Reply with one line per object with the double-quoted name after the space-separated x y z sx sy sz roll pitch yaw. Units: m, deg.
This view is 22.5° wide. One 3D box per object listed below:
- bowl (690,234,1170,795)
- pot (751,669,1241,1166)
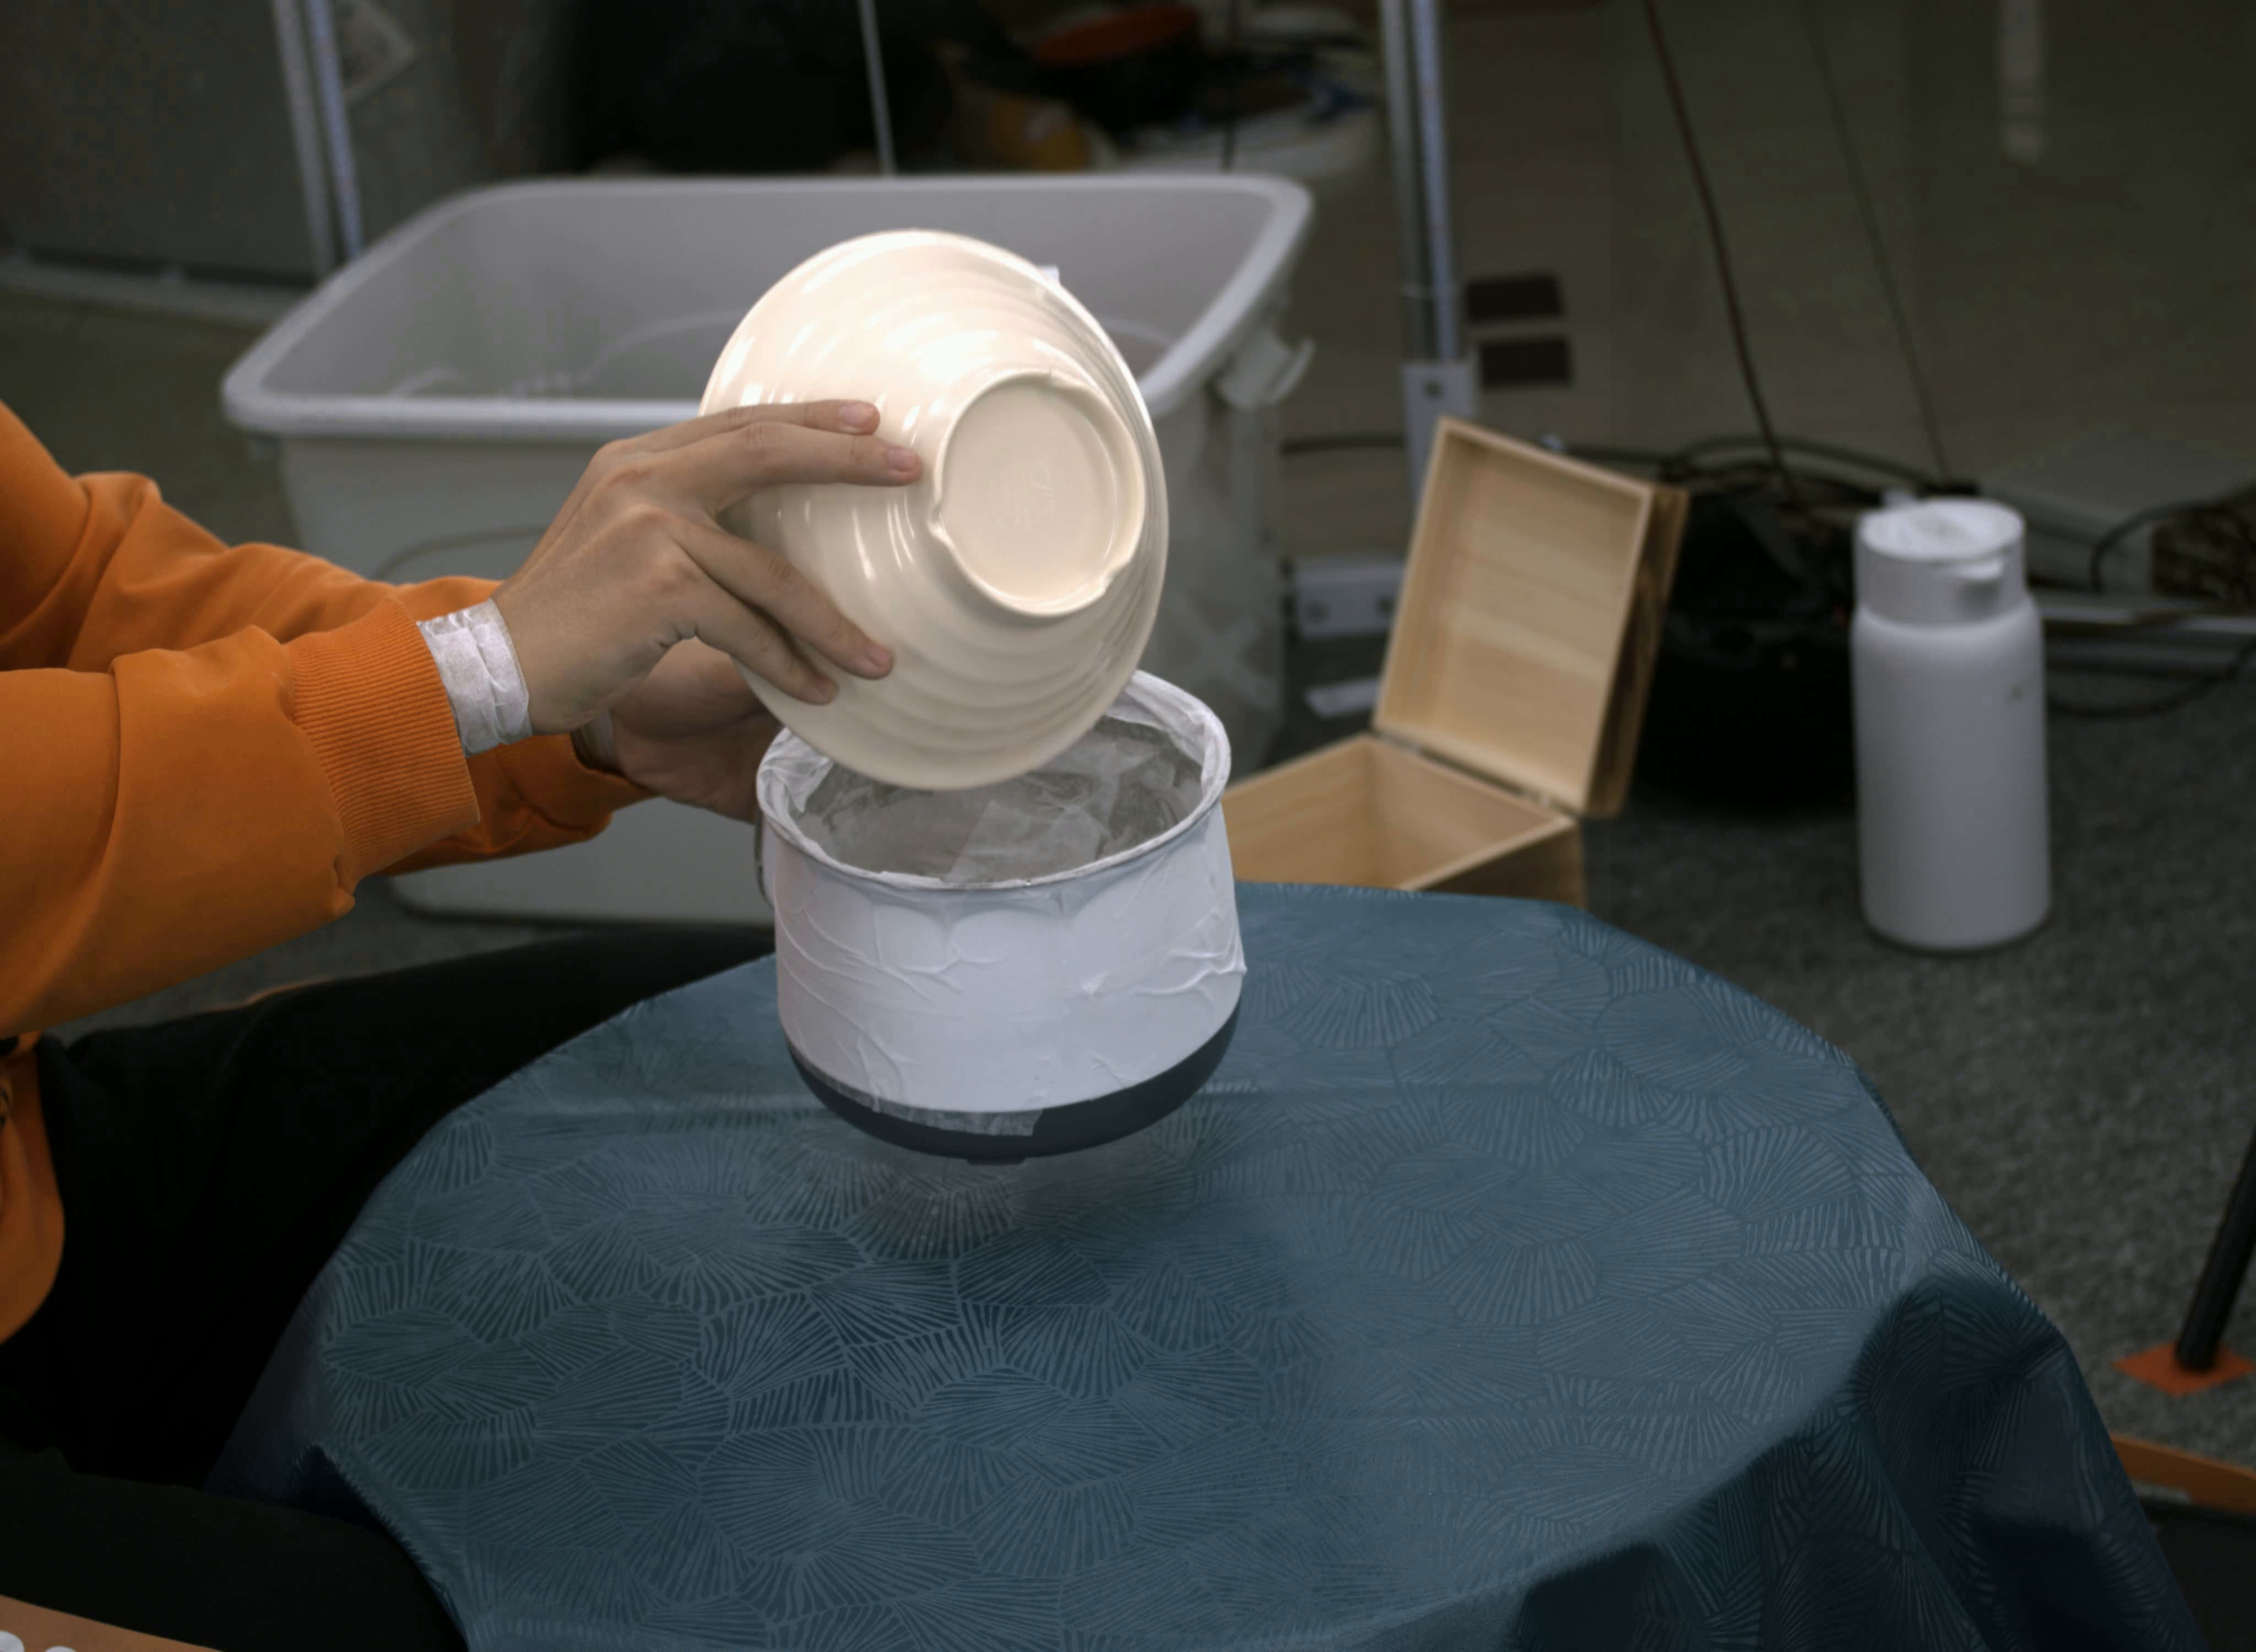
-0.049 -0.116 2.007 0.202 0.205 0.078 -24 11 -33 "bowl"
-0.065 0.023 2.144 0.177 0.139 0.231 -26 38 -34 "pot"
